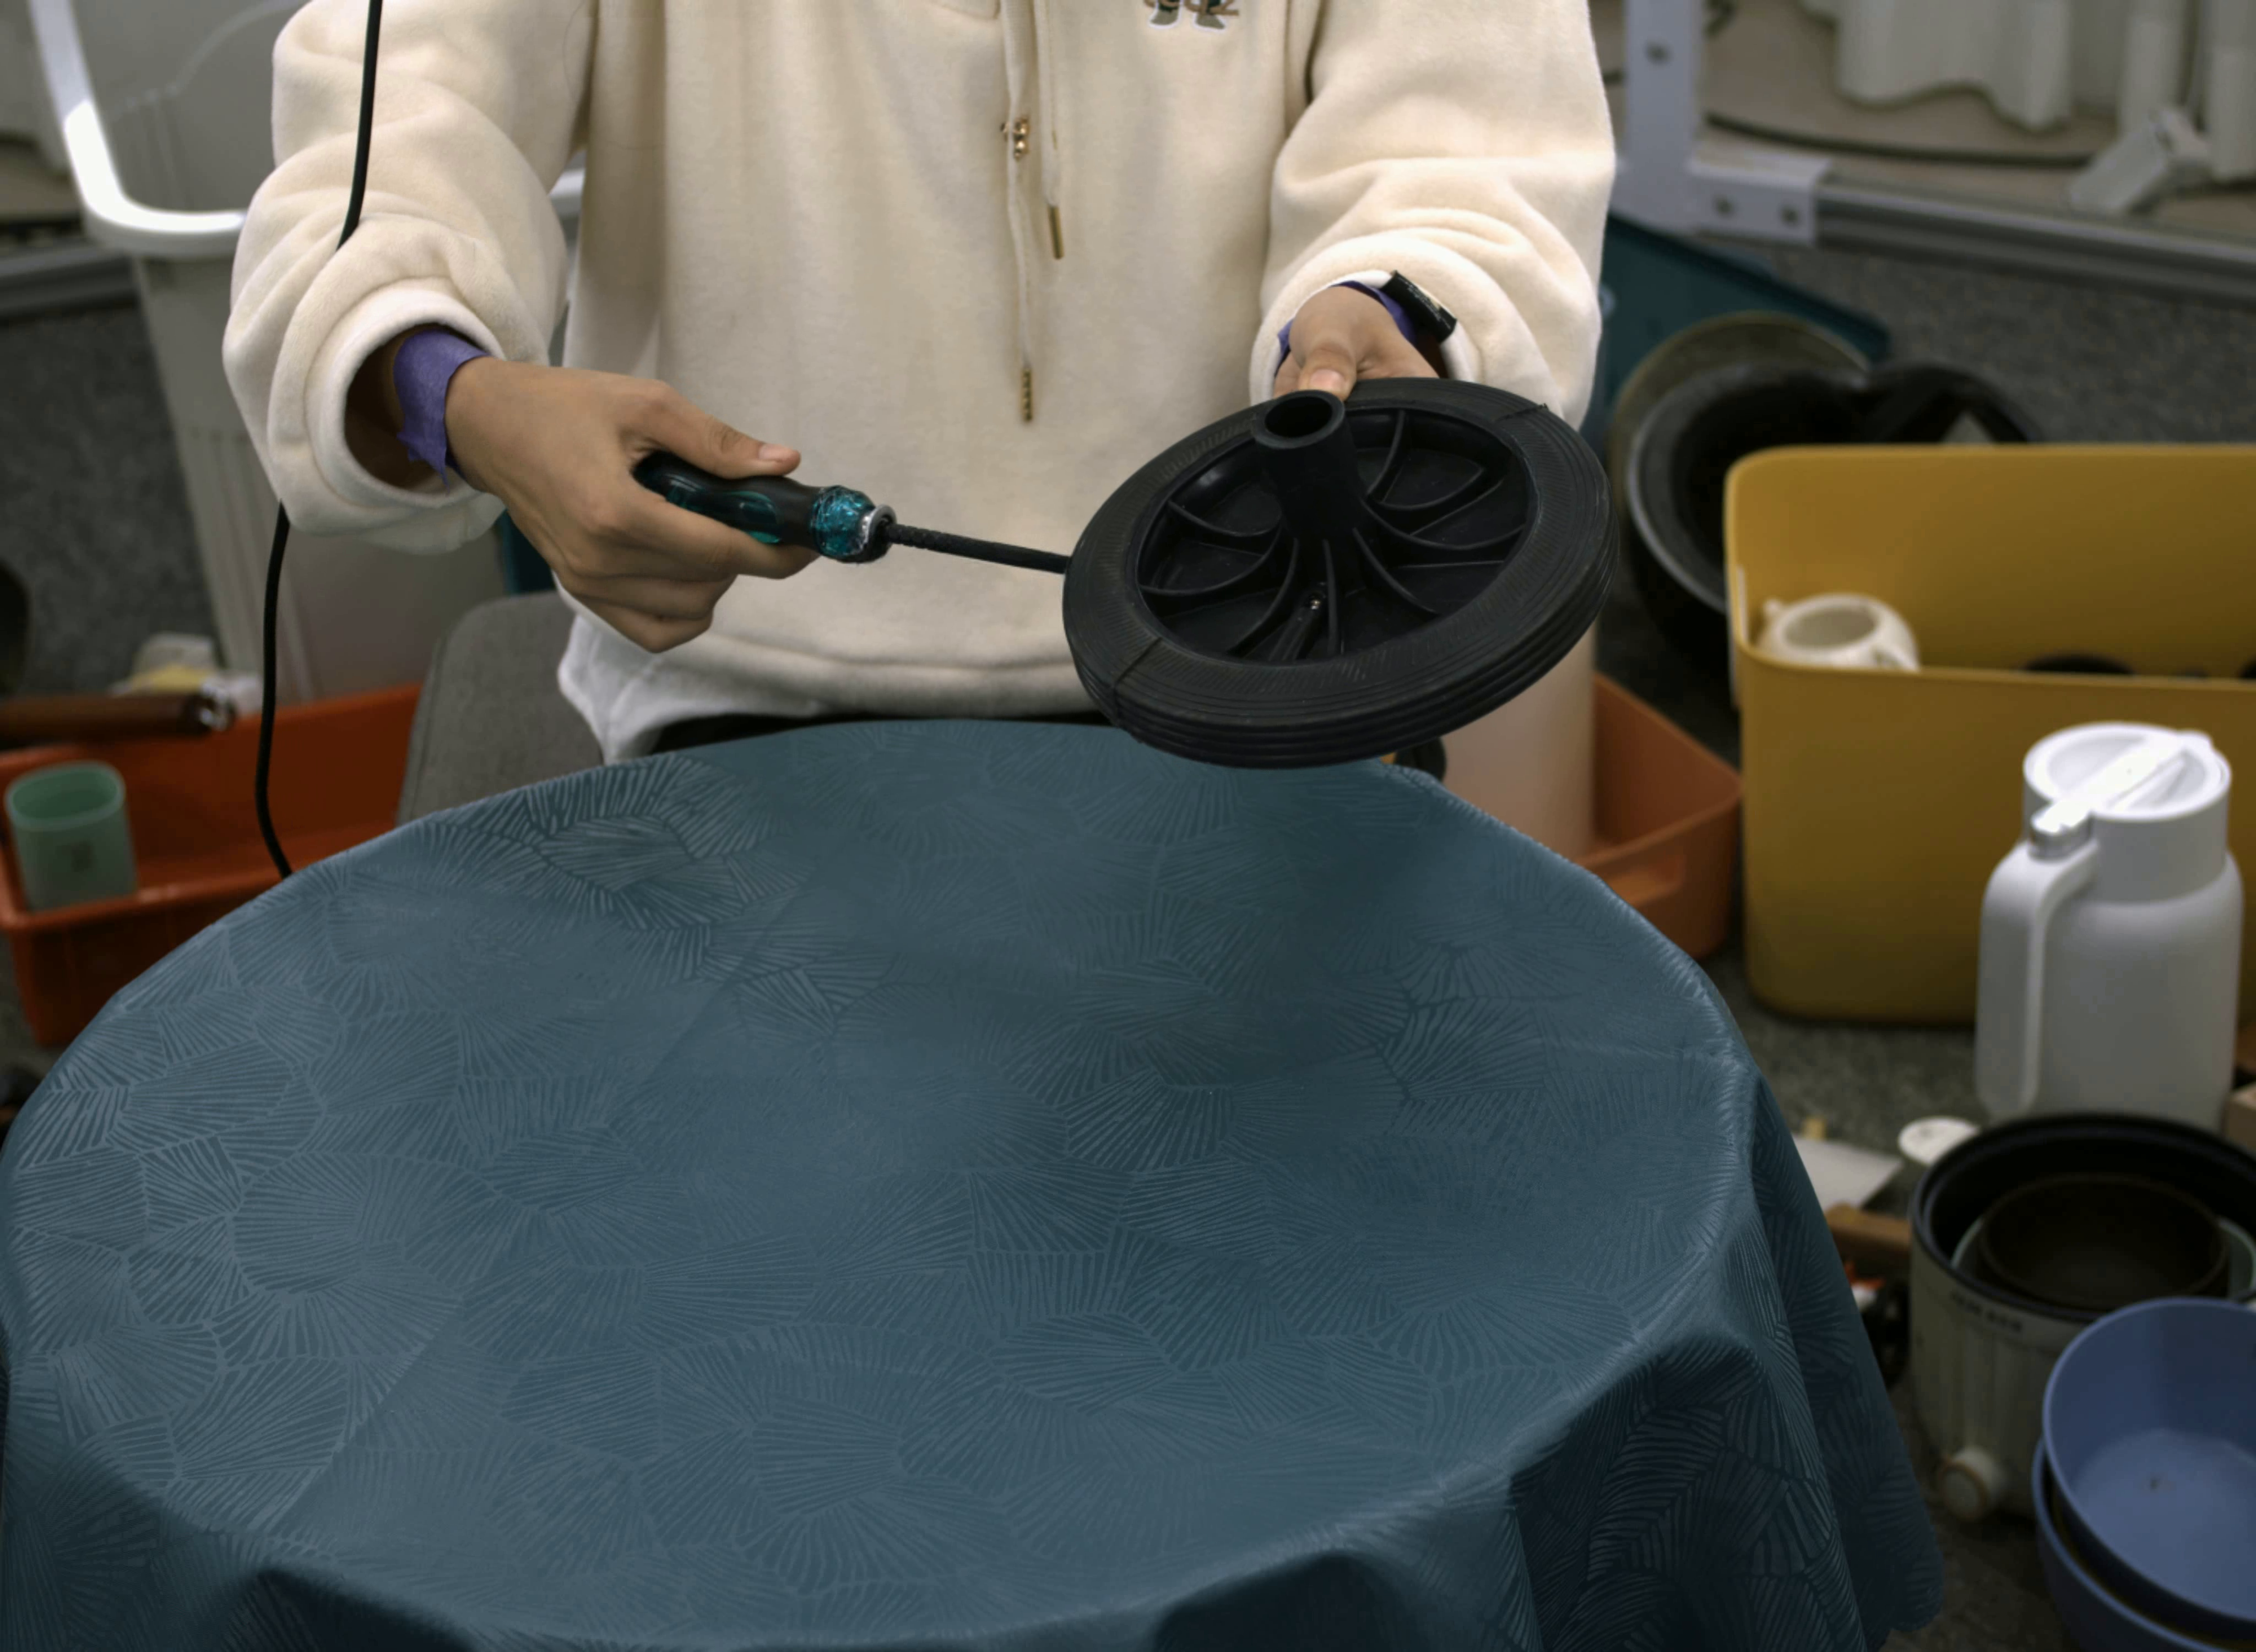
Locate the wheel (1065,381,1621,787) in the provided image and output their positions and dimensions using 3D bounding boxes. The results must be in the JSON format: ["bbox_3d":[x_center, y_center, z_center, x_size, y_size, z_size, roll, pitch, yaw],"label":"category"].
[{"bbox_3d":[0.066,-0.099,1.863,0.186,0.078,0.193,-11,40,8],"label":"wheel"}]

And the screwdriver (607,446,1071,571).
[{"bbox_3d":[-0.099,-0.105,1.947,0.189,0.033,0.034,12,30,30],"label":"screwdriver"}]
